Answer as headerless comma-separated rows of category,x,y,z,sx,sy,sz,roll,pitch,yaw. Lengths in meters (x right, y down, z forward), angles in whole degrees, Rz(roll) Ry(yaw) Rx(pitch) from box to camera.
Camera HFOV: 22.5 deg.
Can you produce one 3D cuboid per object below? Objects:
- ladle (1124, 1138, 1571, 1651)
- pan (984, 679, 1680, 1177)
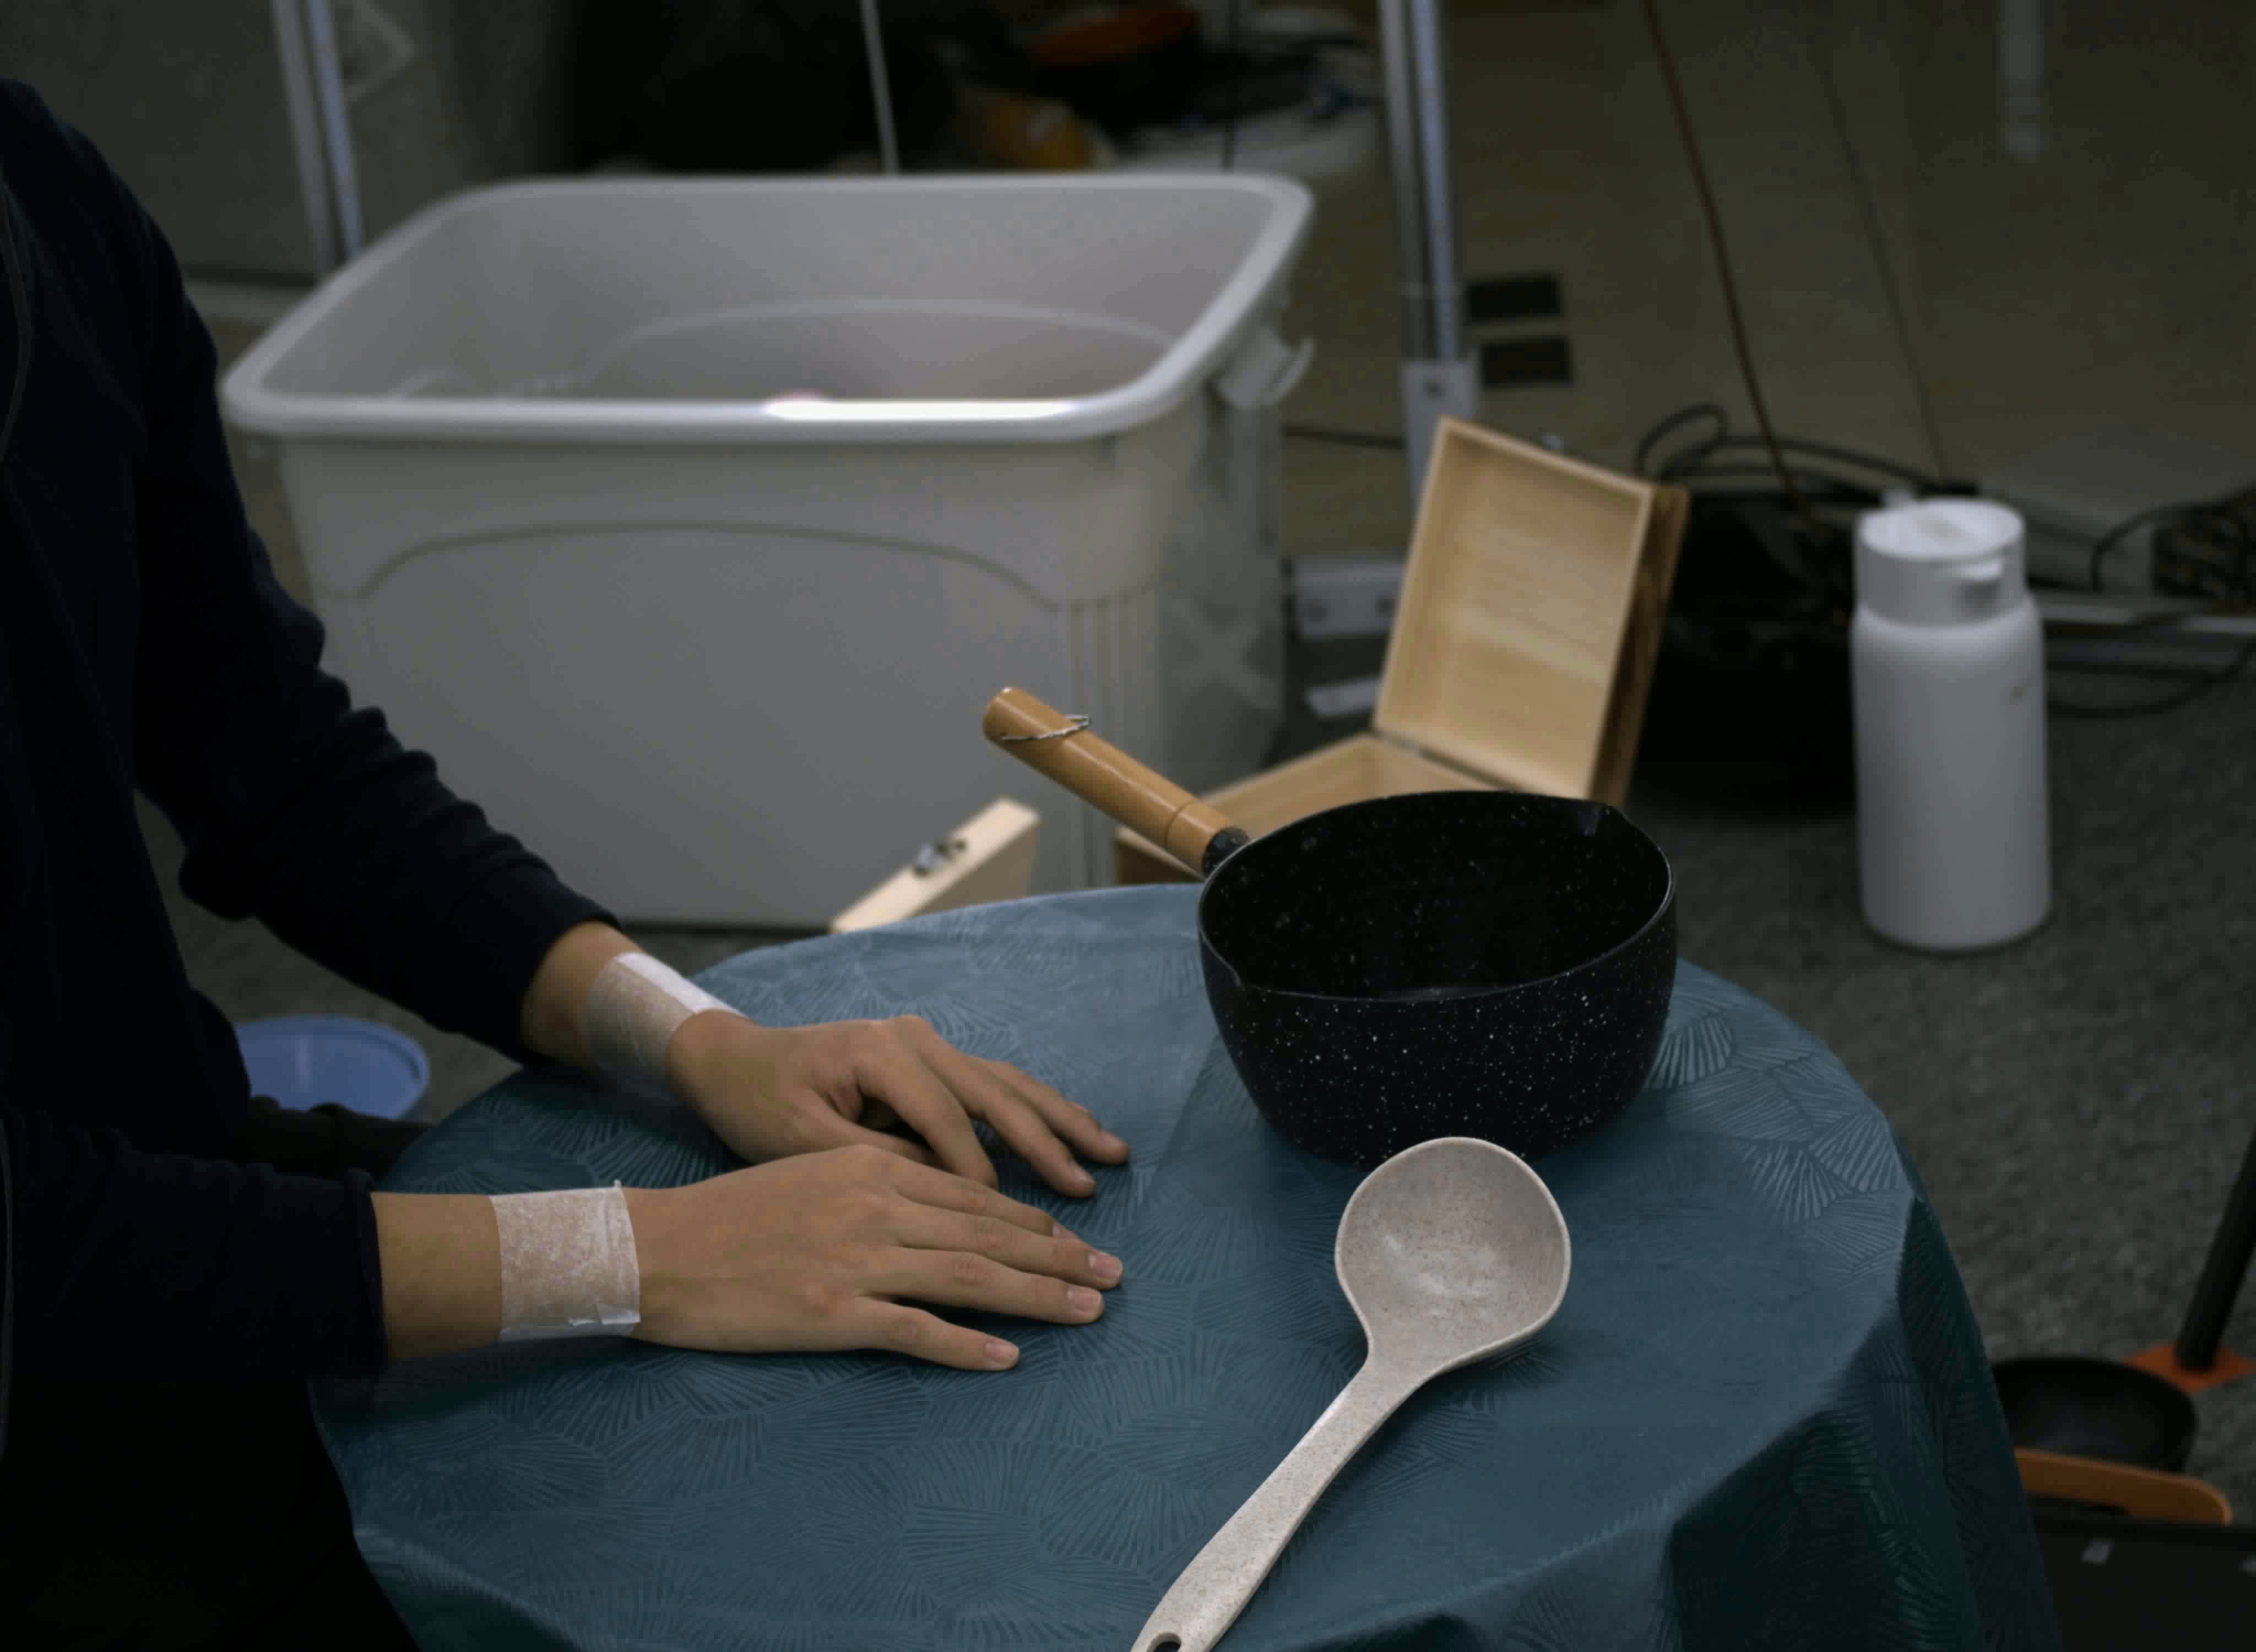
ladle,0.062,0.200,1.928,0.089,0.070,0.271,17,35,24
pan,0.065,0.033,2.228,0.205,0.110,0.340,-28,34,-36
